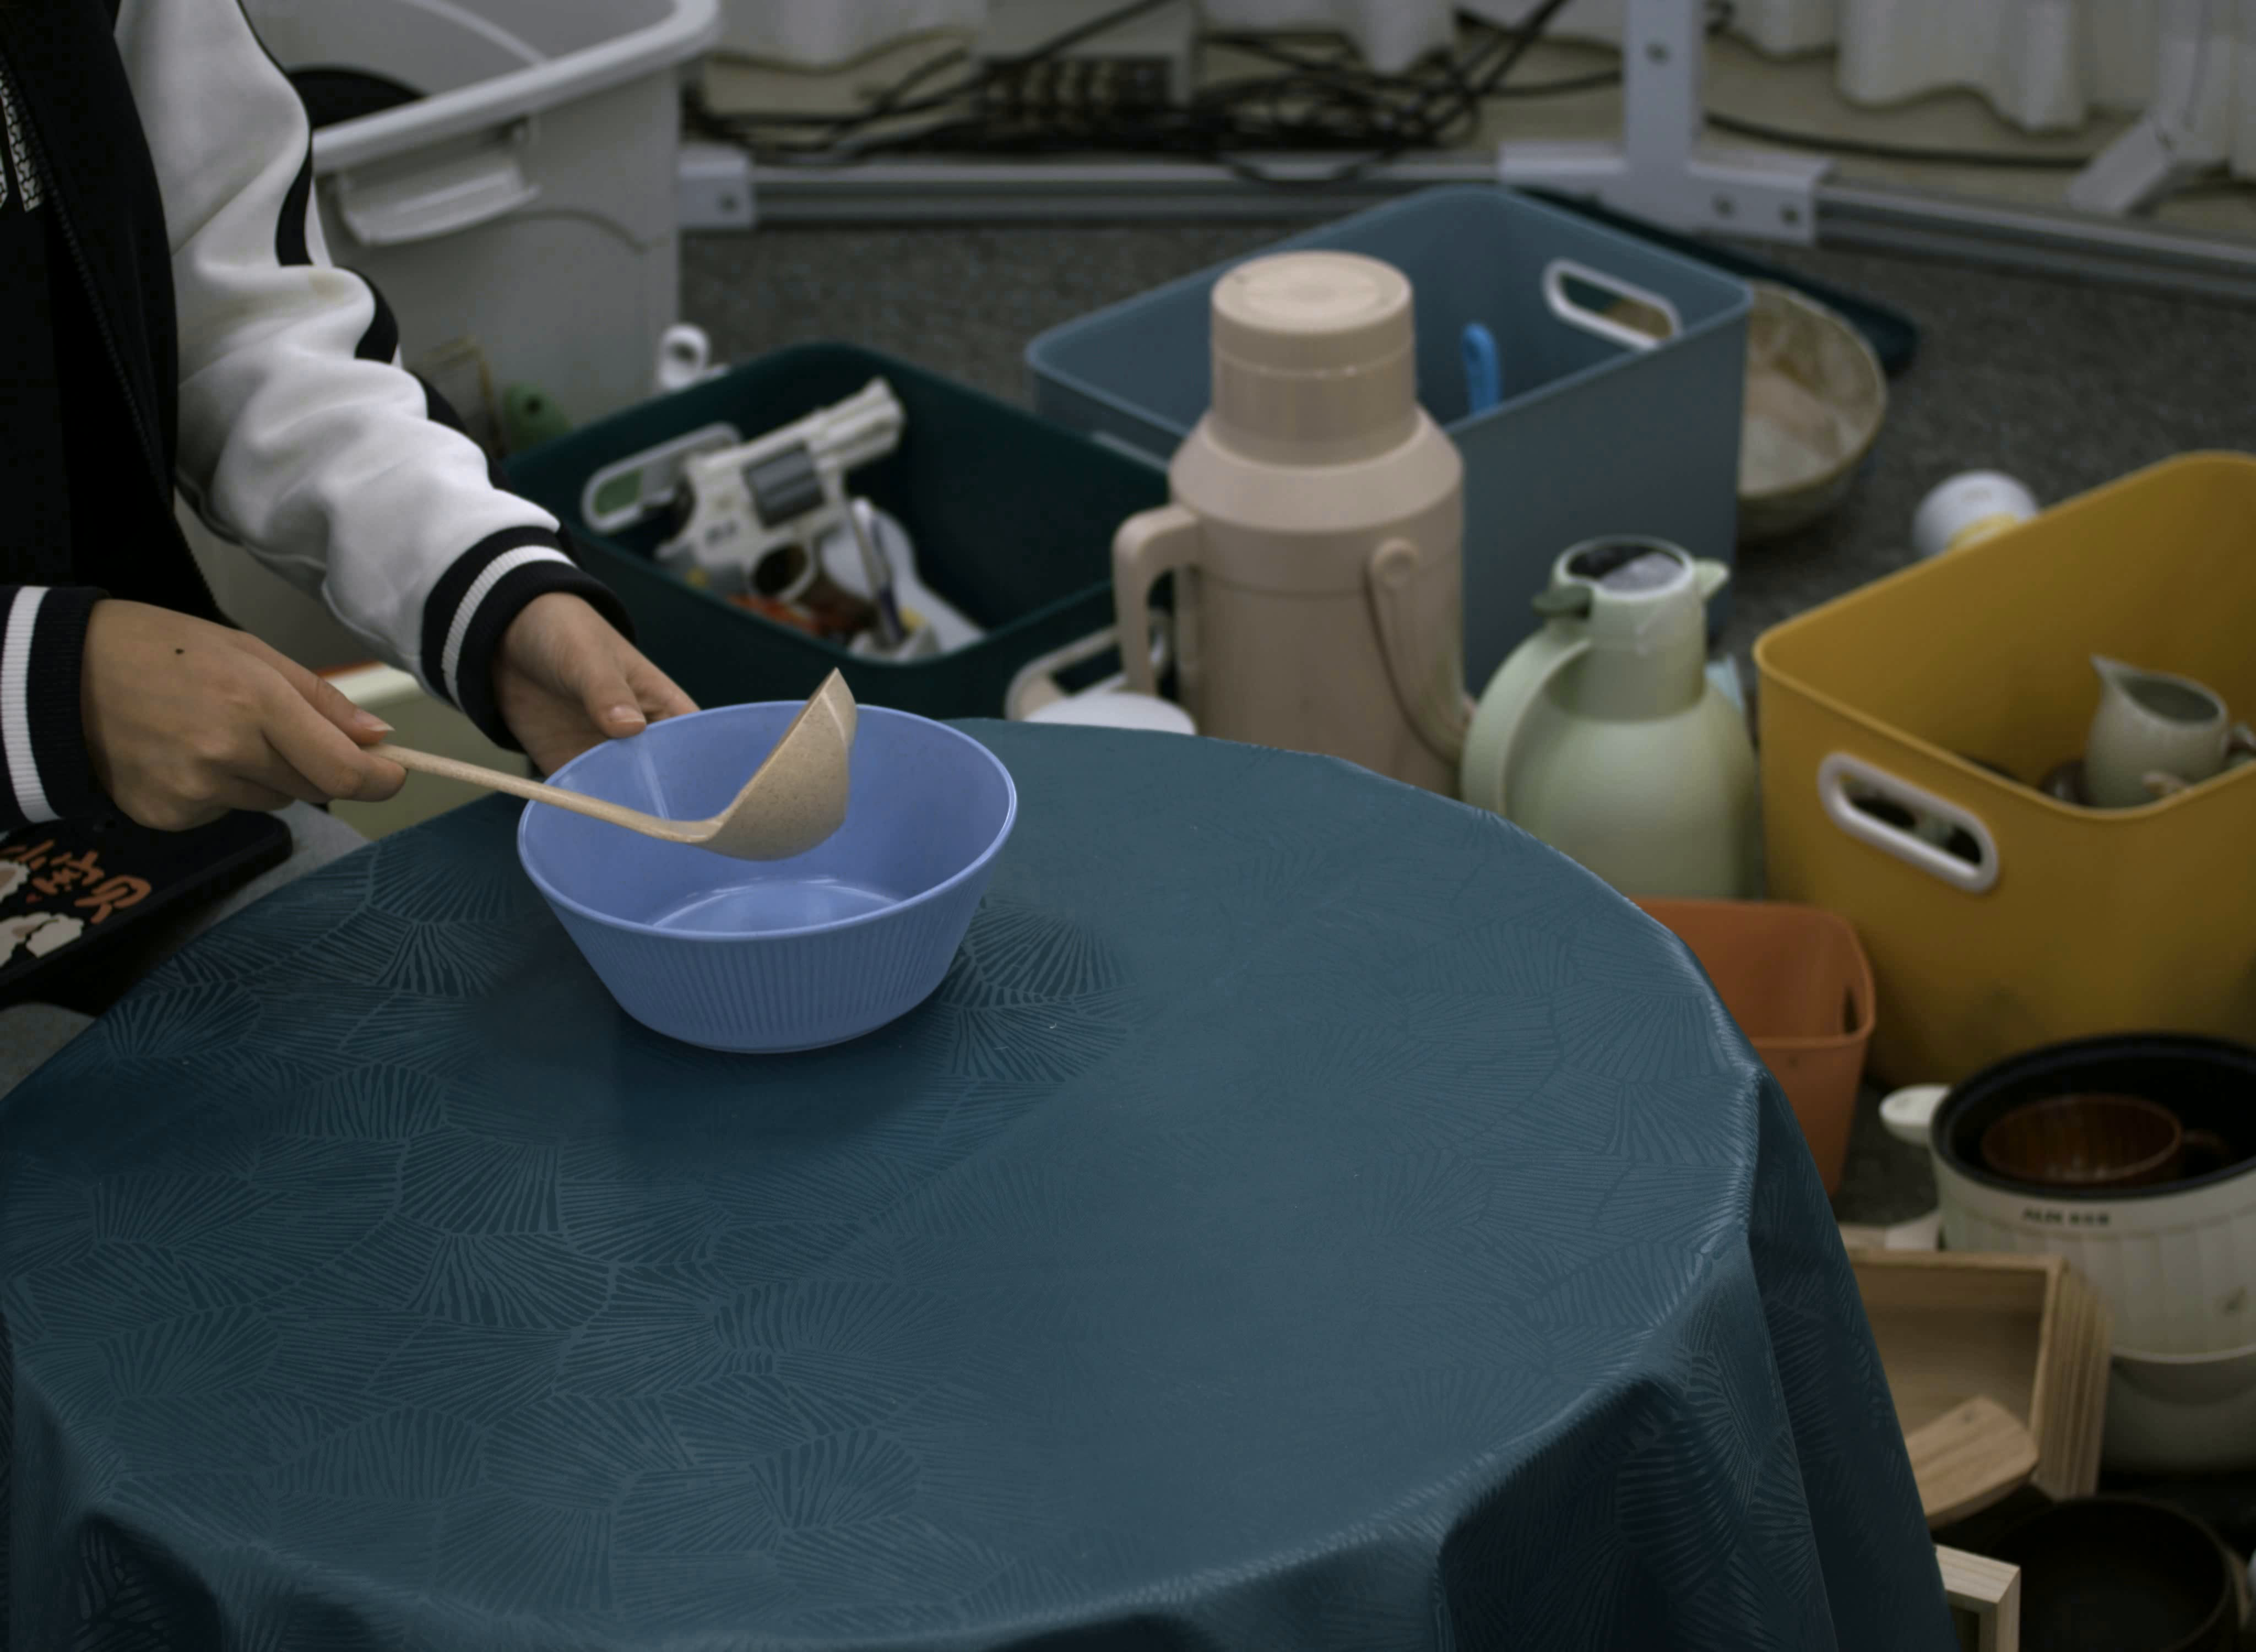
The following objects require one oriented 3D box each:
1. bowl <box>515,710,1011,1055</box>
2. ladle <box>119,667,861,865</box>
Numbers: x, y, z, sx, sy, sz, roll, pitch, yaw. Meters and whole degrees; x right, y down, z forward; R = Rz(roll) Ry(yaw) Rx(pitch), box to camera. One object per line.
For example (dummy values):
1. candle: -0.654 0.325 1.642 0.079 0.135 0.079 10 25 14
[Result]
1. bowl: -0.126 0.026 1.985 0.175 0.069 0.179 -2 26 1
2. ladle: -0.217 -0.040 1.941 0.253 0.073 0.072 11 9 -3
